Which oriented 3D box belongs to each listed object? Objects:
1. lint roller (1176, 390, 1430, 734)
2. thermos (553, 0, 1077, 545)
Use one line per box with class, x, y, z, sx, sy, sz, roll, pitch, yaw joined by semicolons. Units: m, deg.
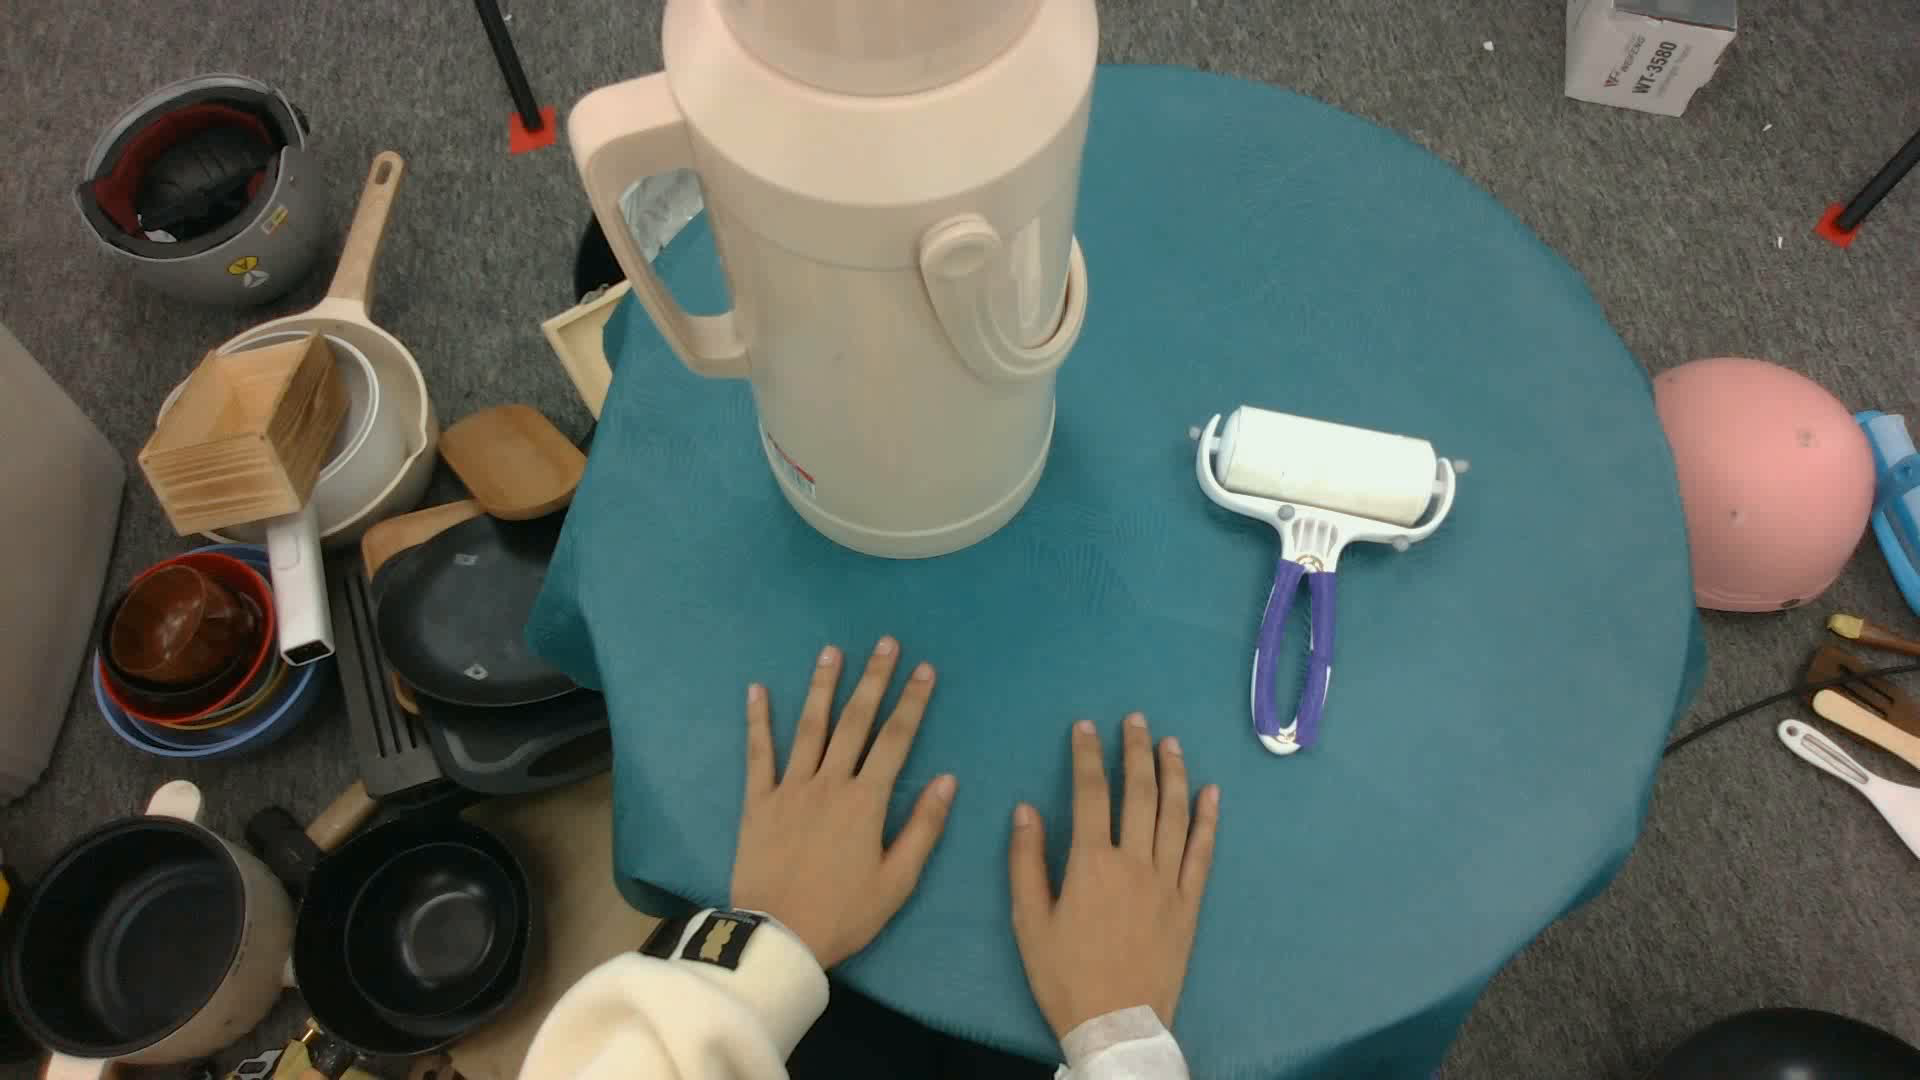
lint roller;0.167;0.009;0.708;0.133;0.050;0.181;14;63;4
thermos;-0.049;-0.146;0.584;0.207;0.405;0.175;-19;68;-9
